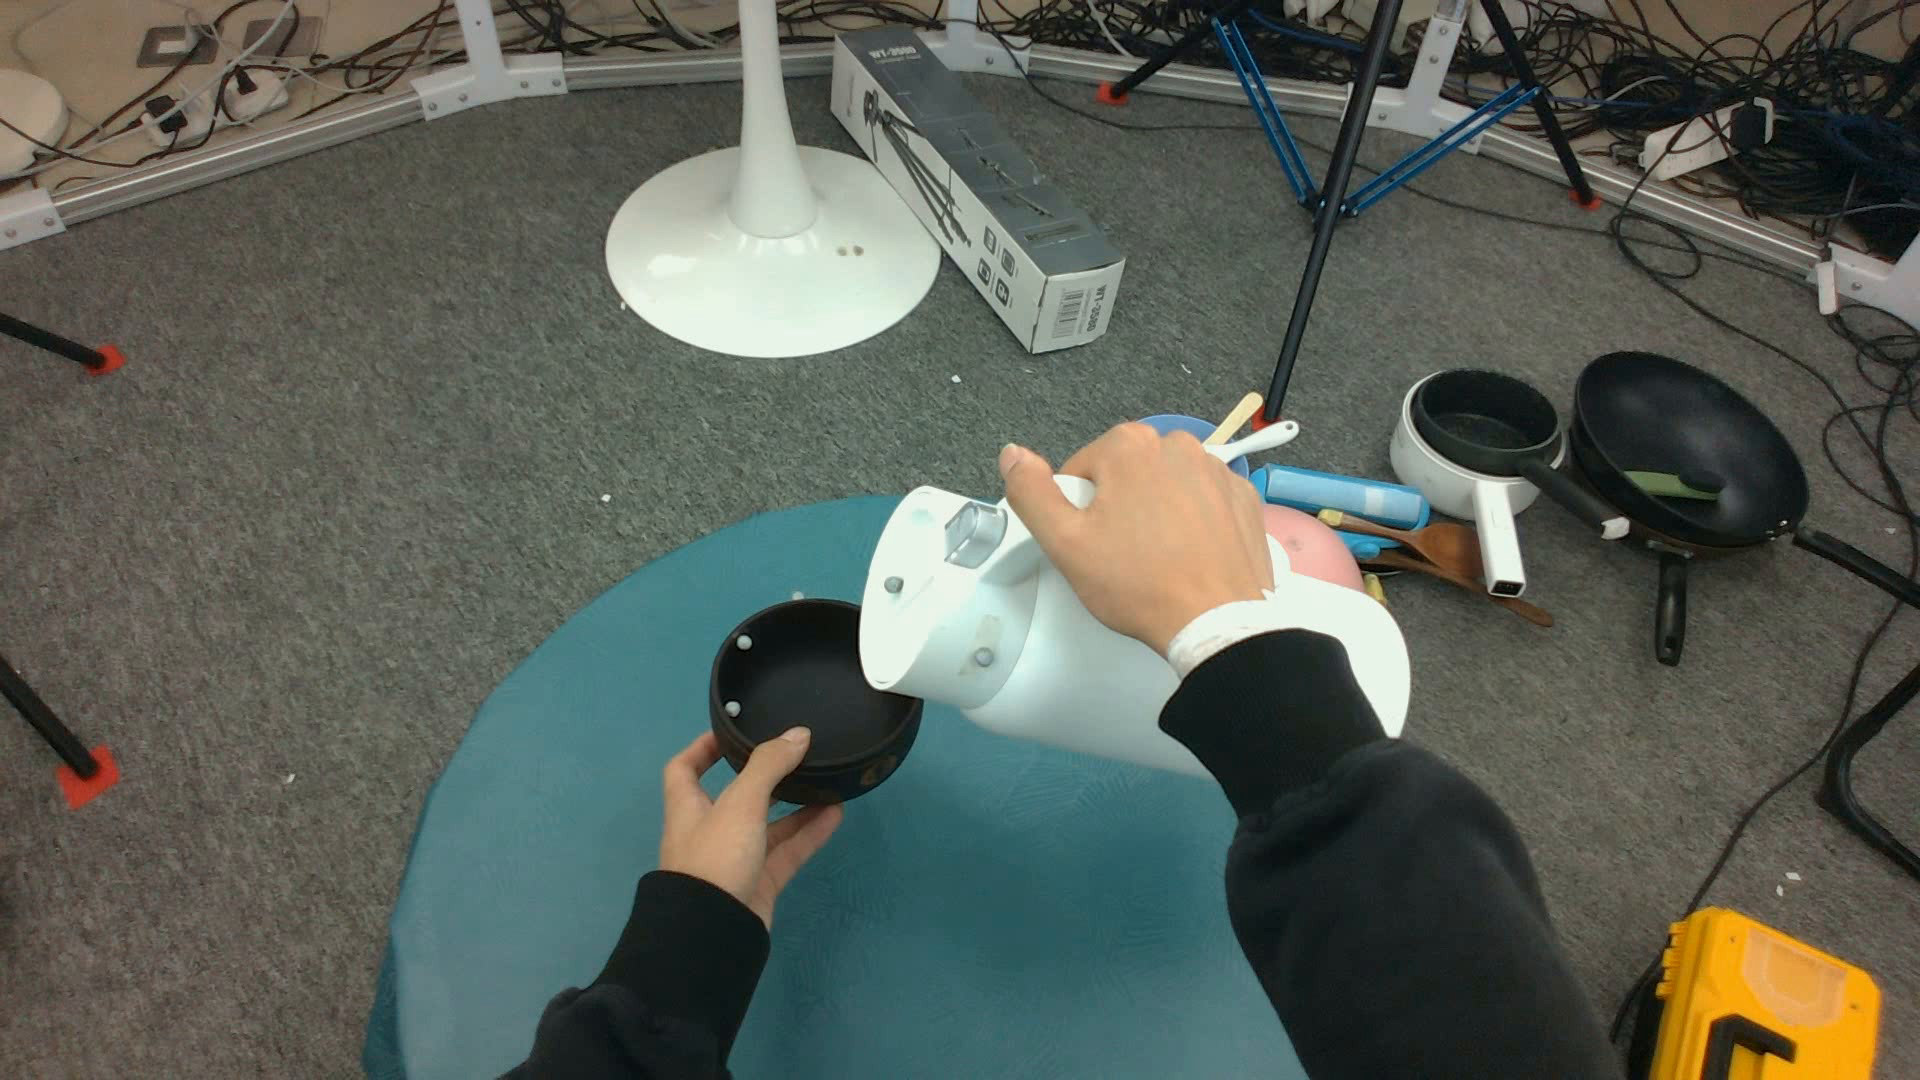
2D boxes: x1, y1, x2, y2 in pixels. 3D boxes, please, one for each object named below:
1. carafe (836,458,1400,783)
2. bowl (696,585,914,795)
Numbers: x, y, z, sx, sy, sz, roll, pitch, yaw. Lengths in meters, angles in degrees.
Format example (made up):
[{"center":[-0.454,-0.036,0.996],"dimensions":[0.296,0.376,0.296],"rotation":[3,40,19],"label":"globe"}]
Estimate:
[{"center":[0.092,0.037,0.684],"dimensions":[0.269,0.172,0.124],"rotation":[16,54,-22],"label":"carafe"},{"center":[-0.086,0.090,0.763],"dimensions":[0.118,0.069,0.118],"rotation":[5,47,-6],"label":"bowl"}]
